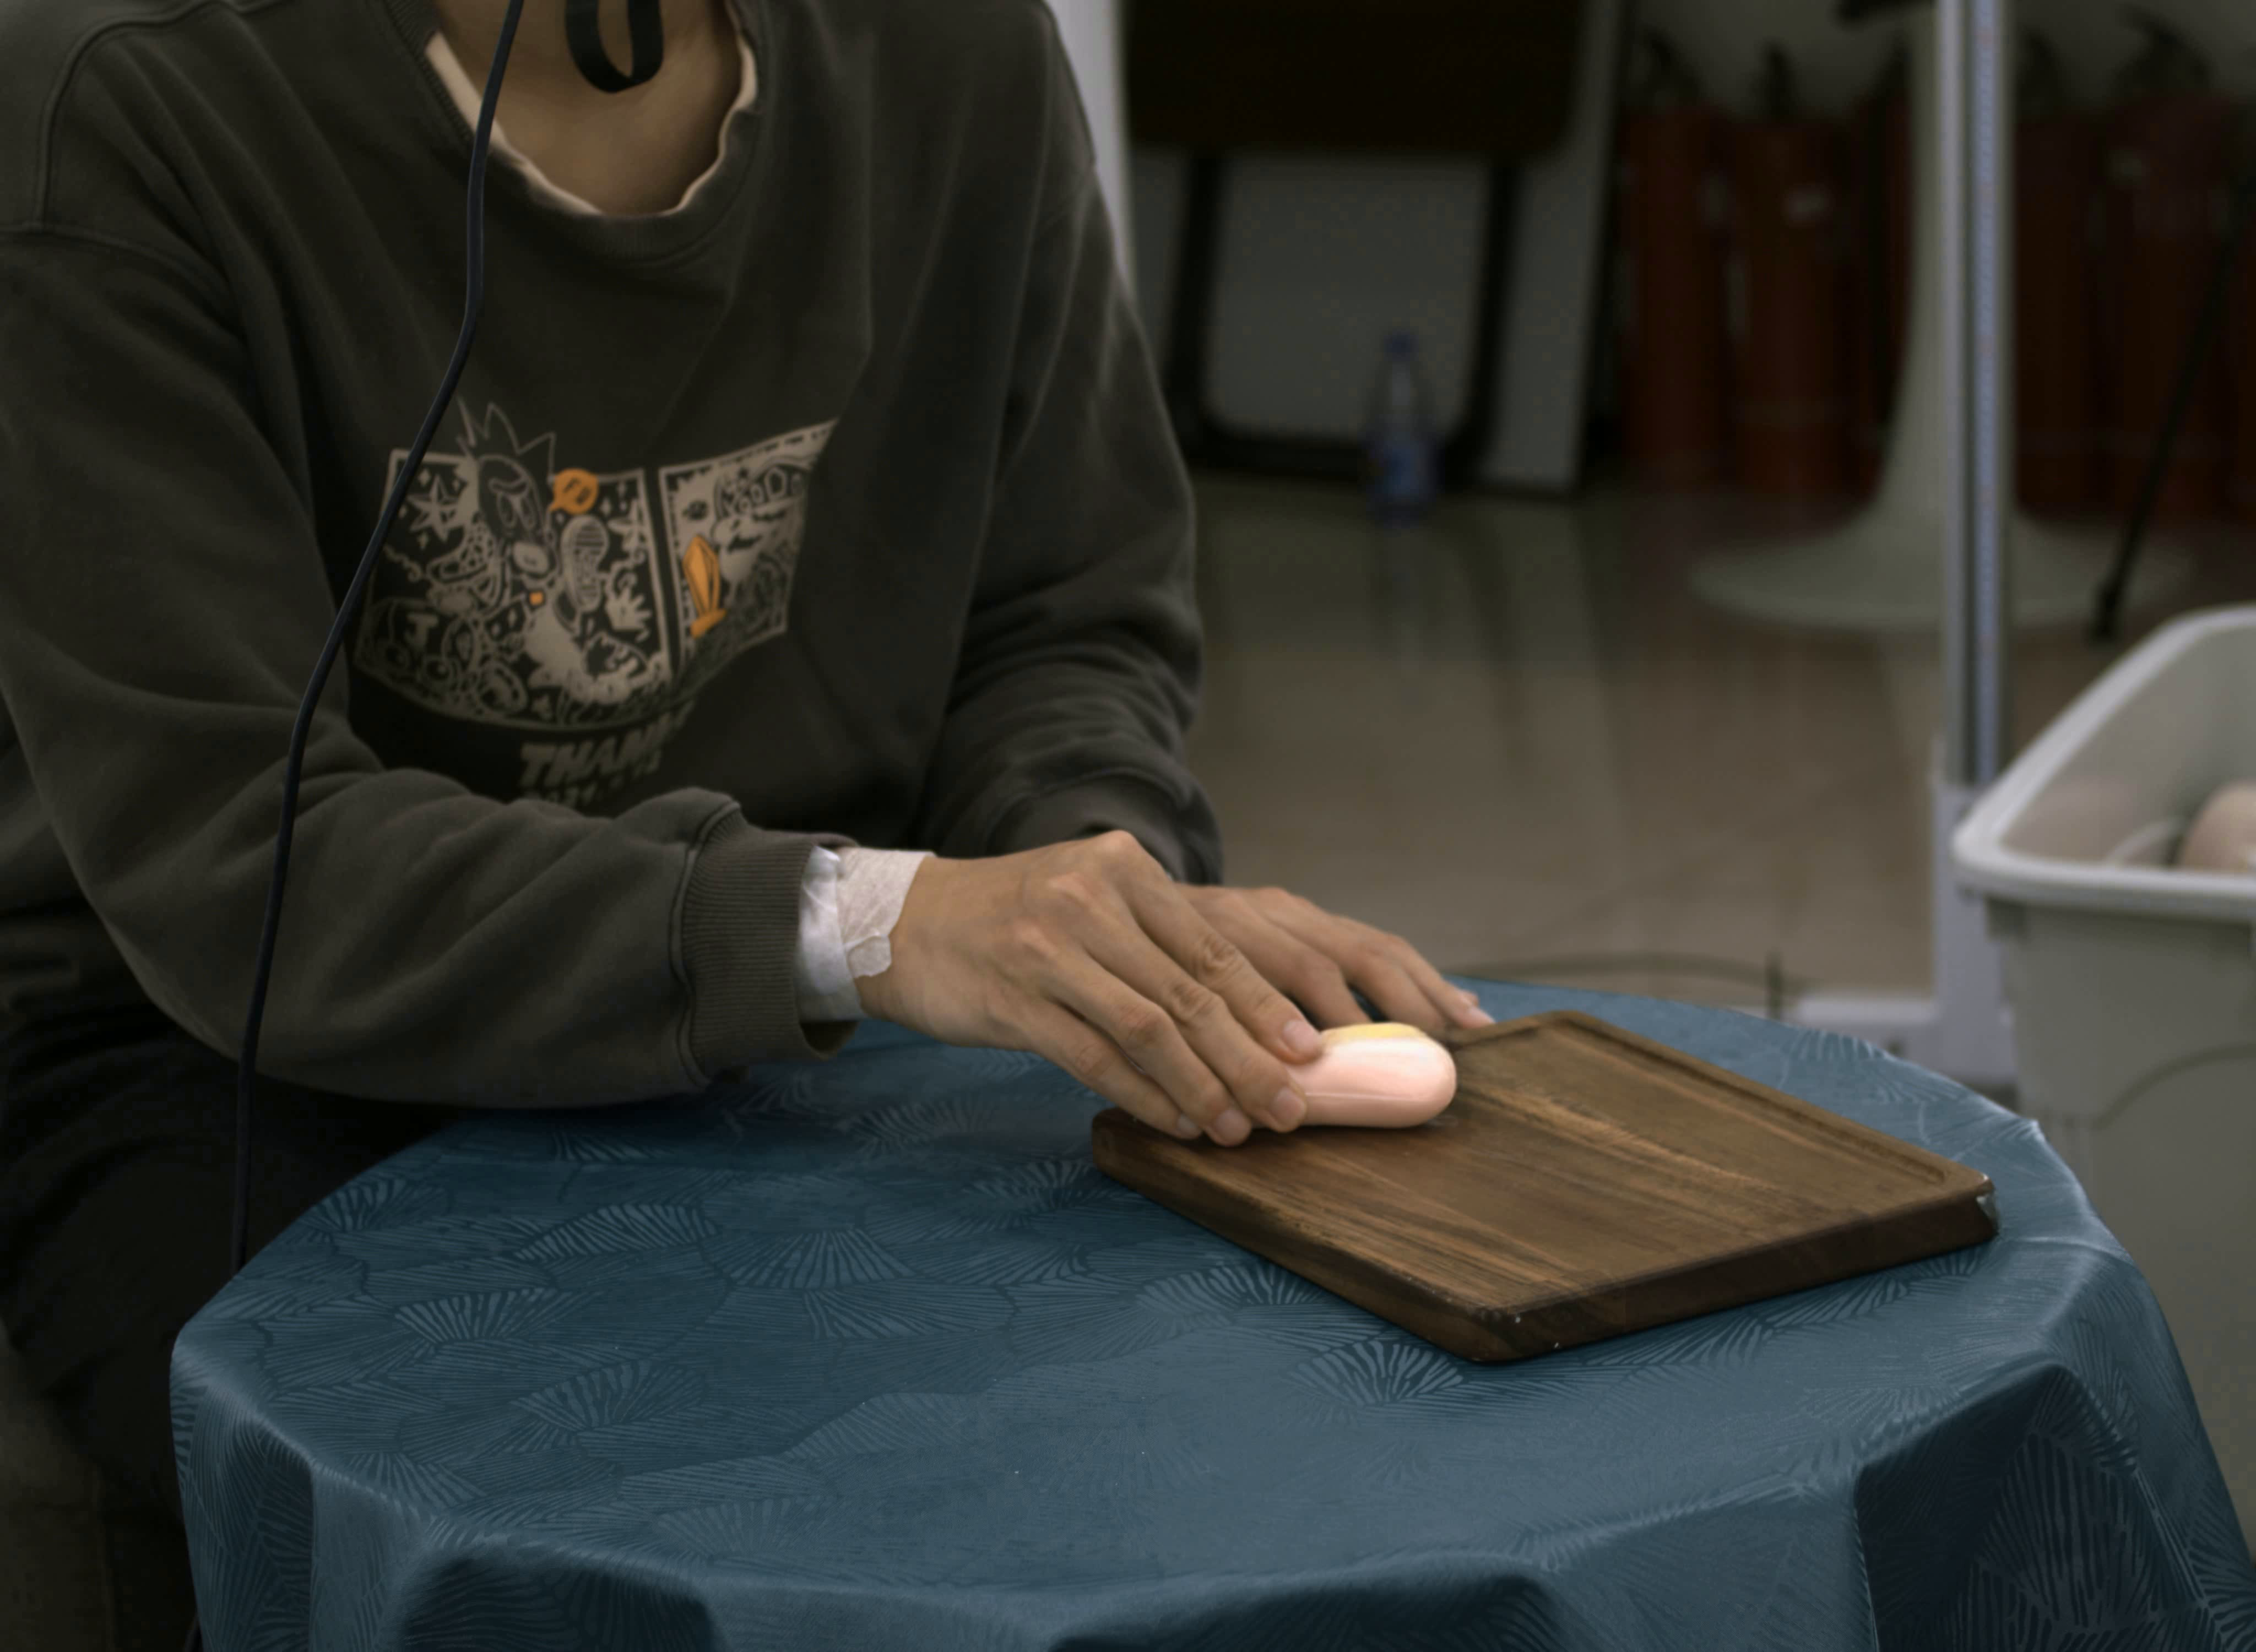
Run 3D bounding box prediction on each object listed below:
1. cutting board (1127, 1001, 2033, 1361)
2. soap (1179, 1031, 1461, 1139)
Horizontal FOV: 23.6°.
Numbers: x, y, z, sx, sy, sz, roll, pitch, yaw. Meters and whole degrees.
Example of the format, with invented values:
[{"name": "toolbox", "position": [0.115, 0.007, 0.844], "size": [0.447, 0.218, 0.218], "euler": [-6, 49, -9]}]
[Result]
[{"name": "cutting board", "position": [0.118, 0.103, 1.774], "size": [0.197, 0.023, 0.356], "euler": [-11, 15, -25]}, {"name": "soap", "position": [0.063, 0.086, 1.777], "size": [0.093, 0.031, 0.050], "euler": [-3, 14, 7]}]
